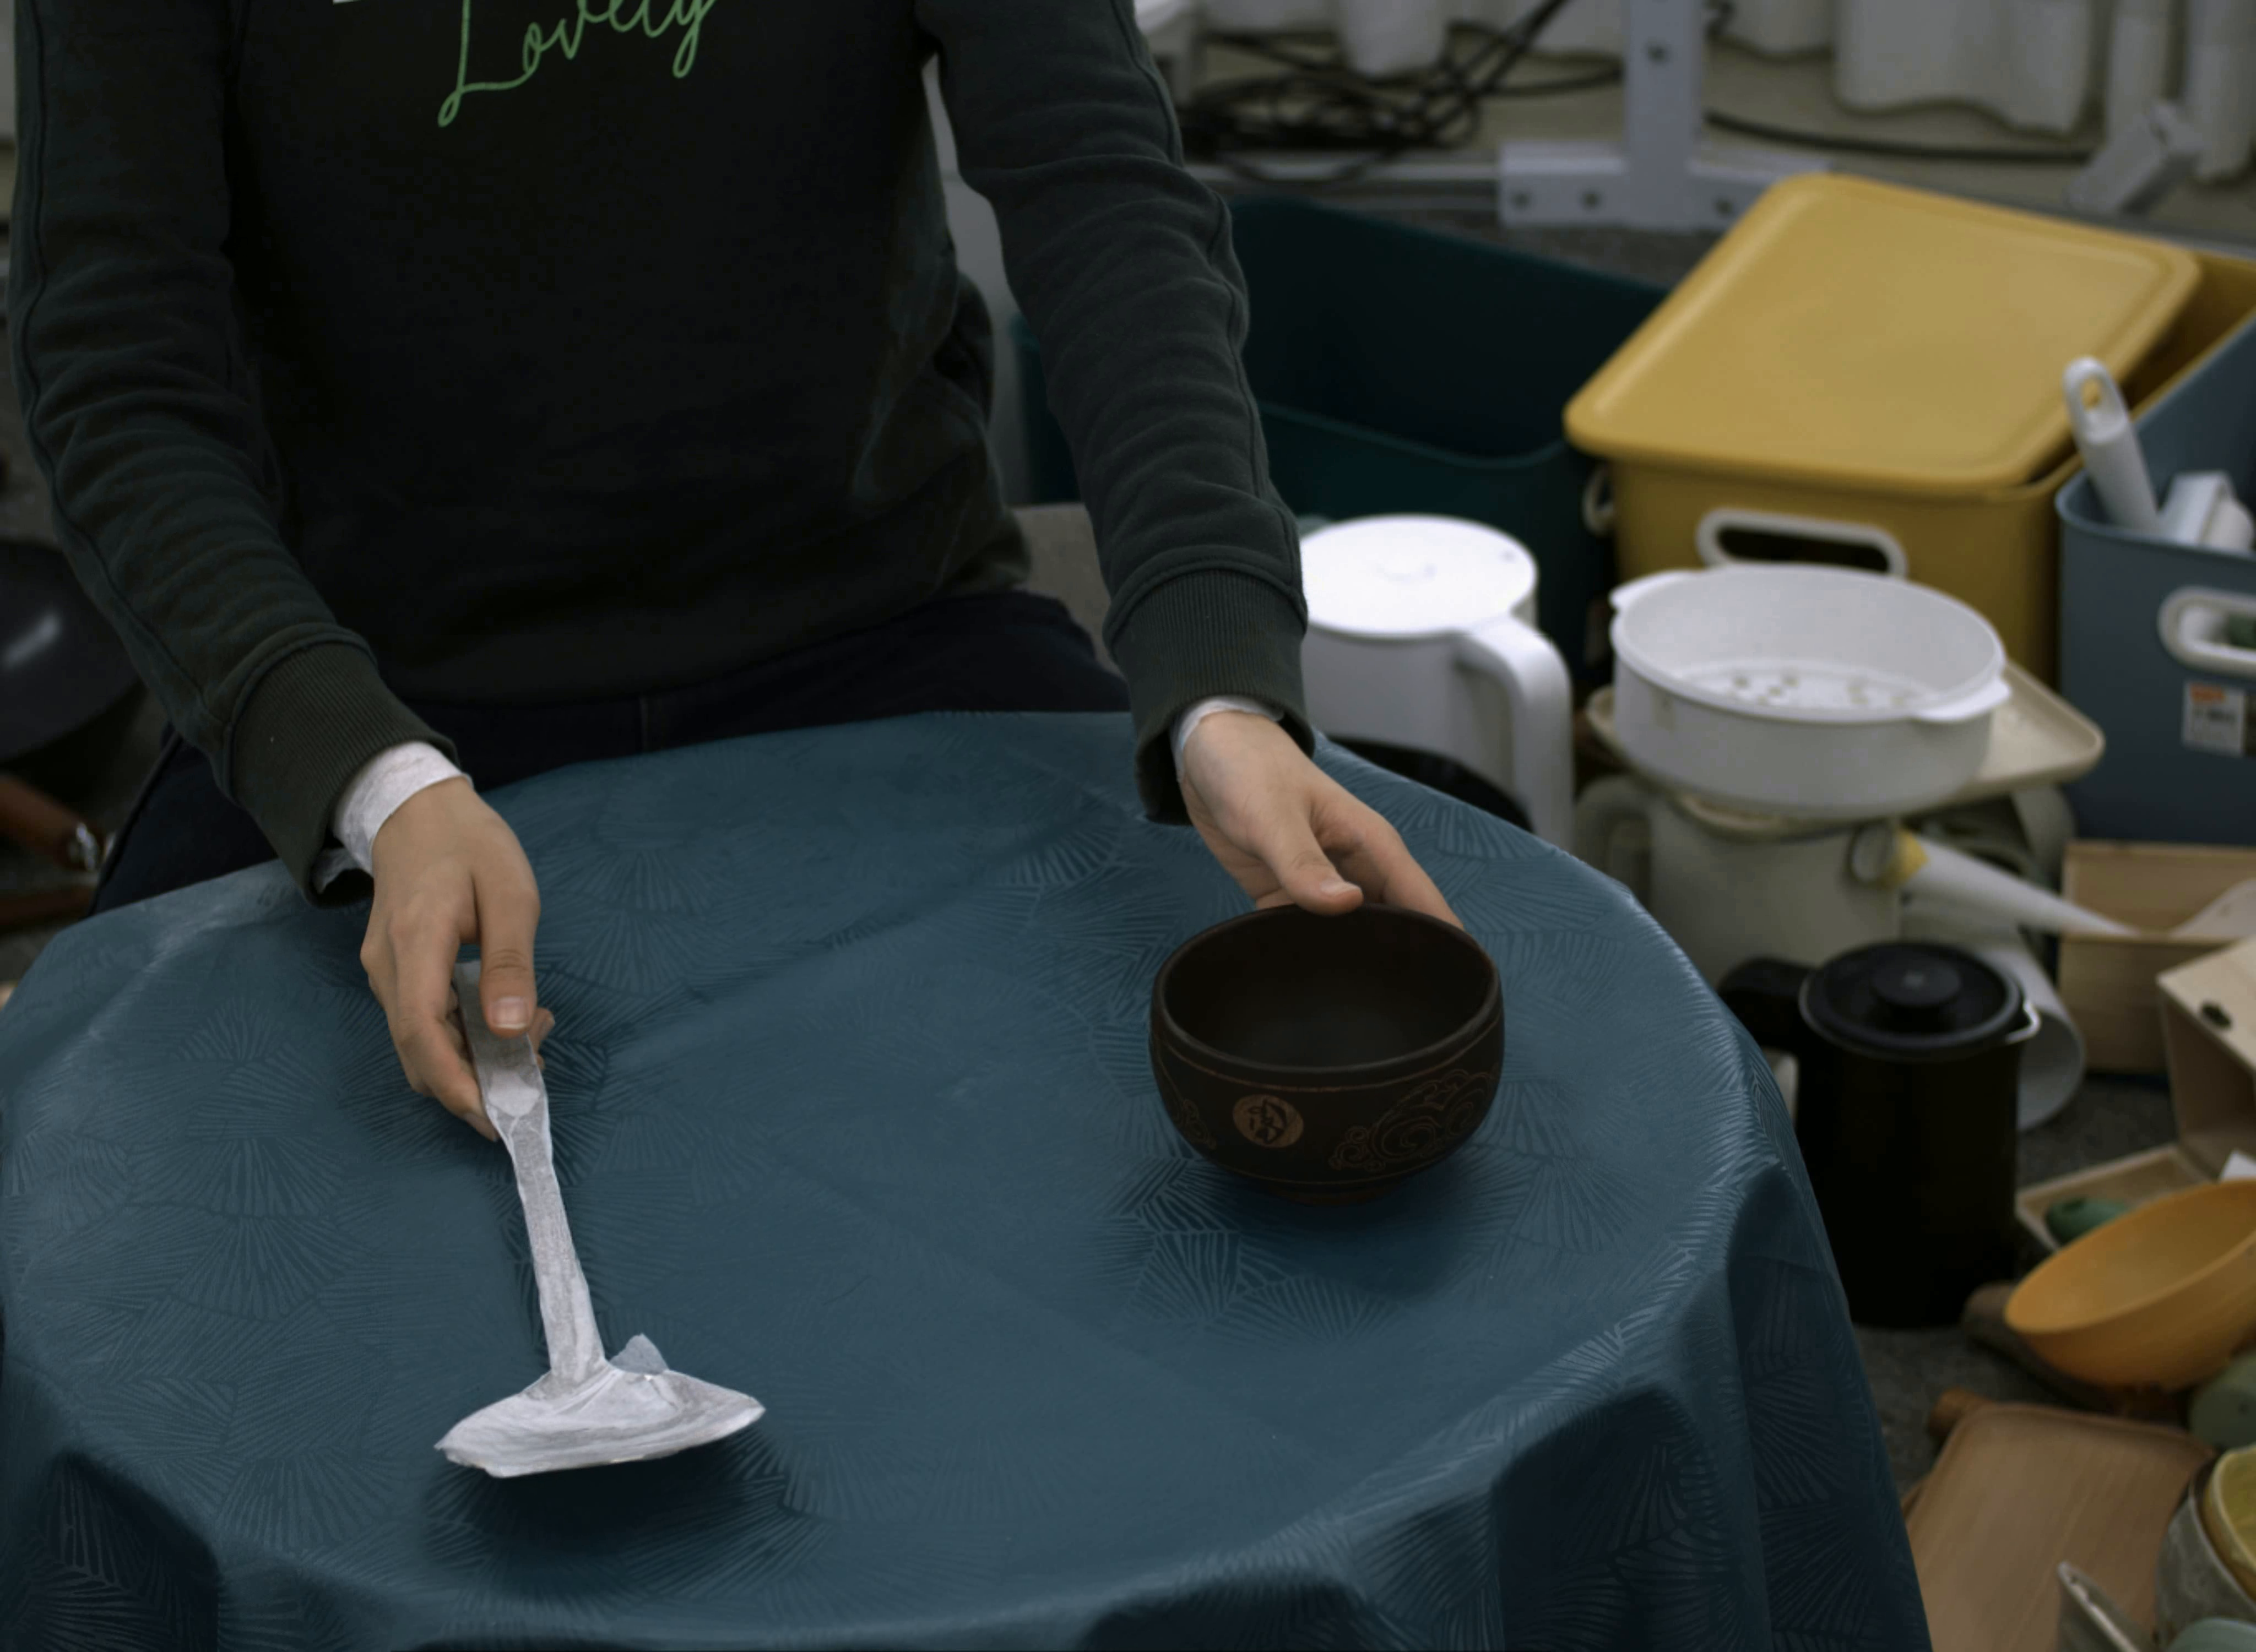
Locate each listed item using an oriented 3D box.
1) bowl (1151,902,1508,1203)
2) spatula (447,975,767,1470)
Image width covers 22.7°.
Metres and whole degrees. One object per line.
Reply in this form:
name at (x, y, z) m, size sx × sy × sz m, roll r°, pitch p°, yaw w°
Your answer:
bowl at (0.067, 0.081, 1.857) m, size 0.117 × 0.069 × 0.120 m, roll -2°, pitch 25°, yaw 1°
spatula at (-0.188, 0.121, 1.835) m, size 0.098 × 0.044 × 0.369 m, roll -9°, pitch 29°, yaw -8°
